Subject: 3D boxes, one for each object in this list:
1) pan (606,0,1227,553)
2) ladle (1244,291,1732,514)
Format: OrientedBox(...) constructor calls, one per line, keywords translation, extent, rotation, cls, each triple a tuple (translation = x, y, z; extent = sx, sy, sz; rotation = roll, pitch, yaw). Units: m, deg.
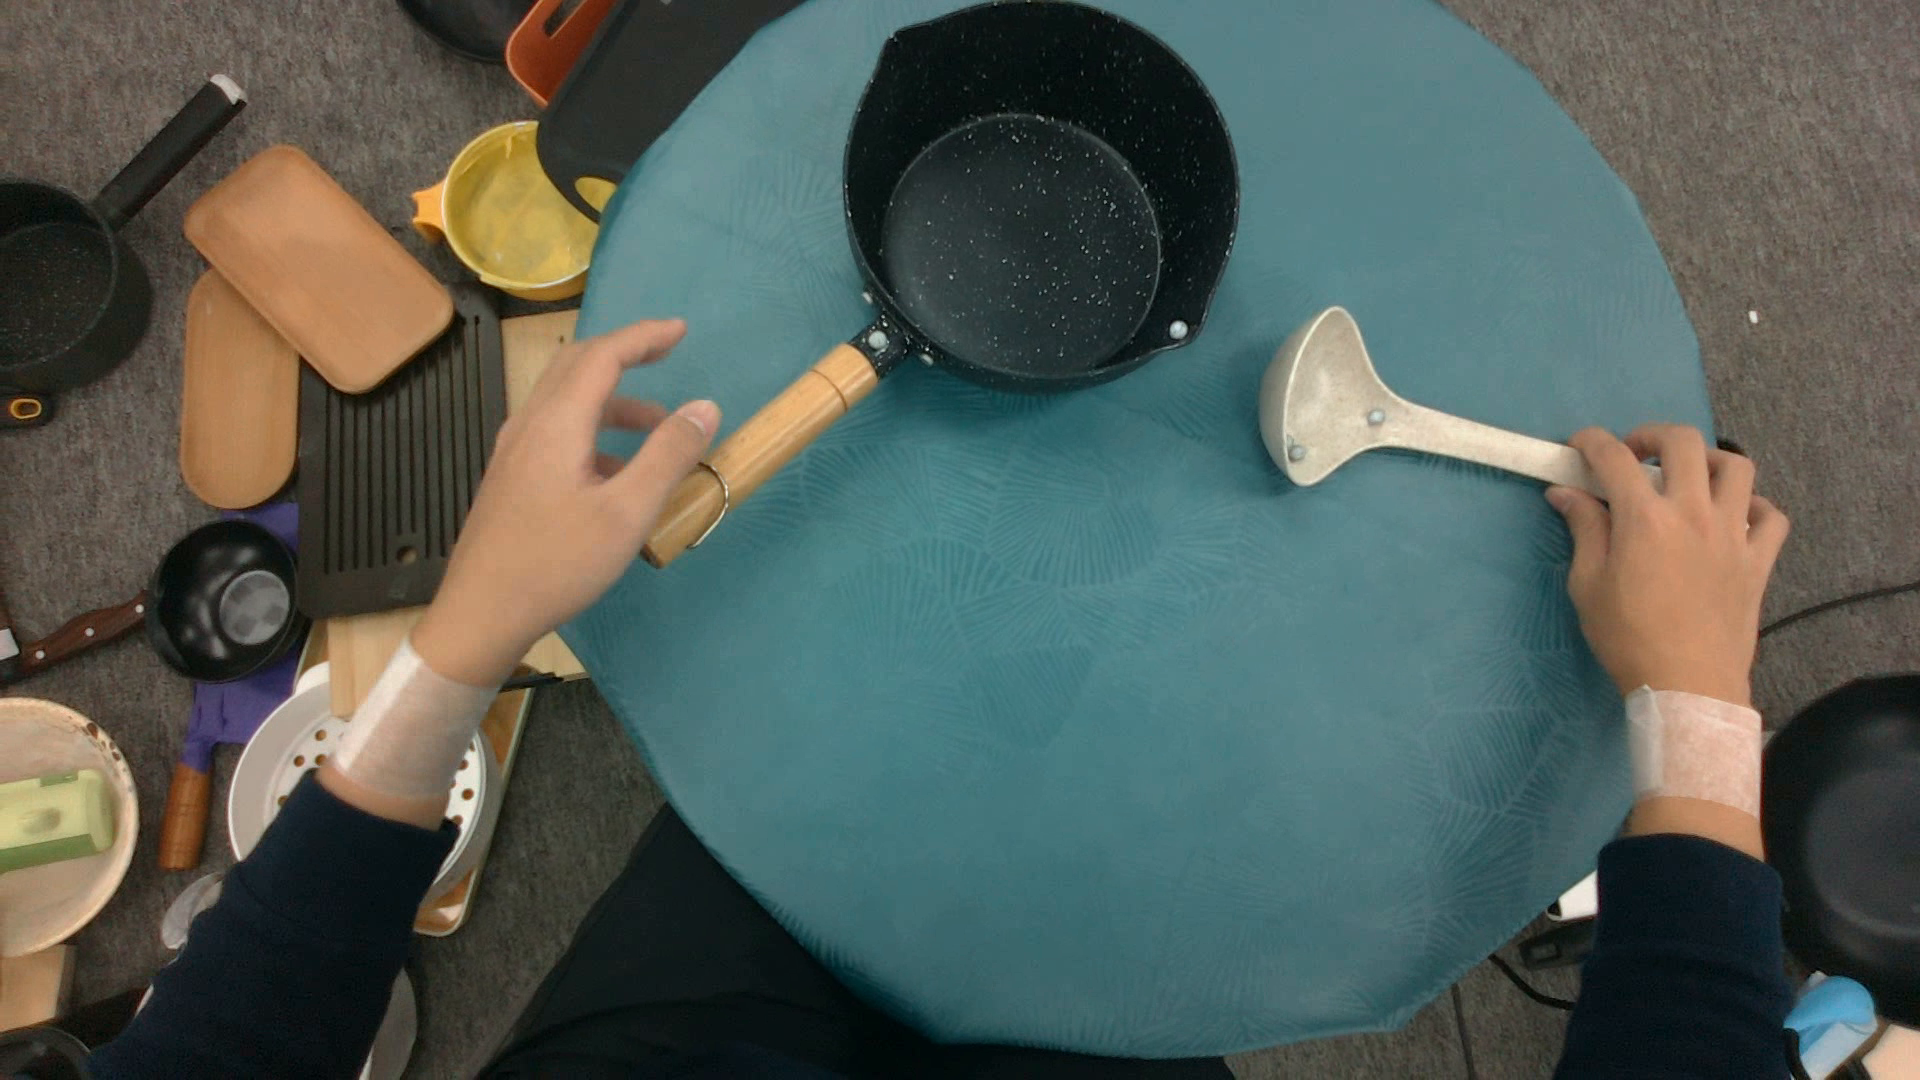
OrientedBox(translation=(-0.025, -0.110, 0.648), extent=(0.207, 0.108, 0.343), rotation=(44, 79, 2), cls="pan")
OrientedBox(translation=(0.275, -0.054, 0.686), extent=(0.275, 0.069, 0.089), rotation=(13, 84, -3), cls="ladle")
